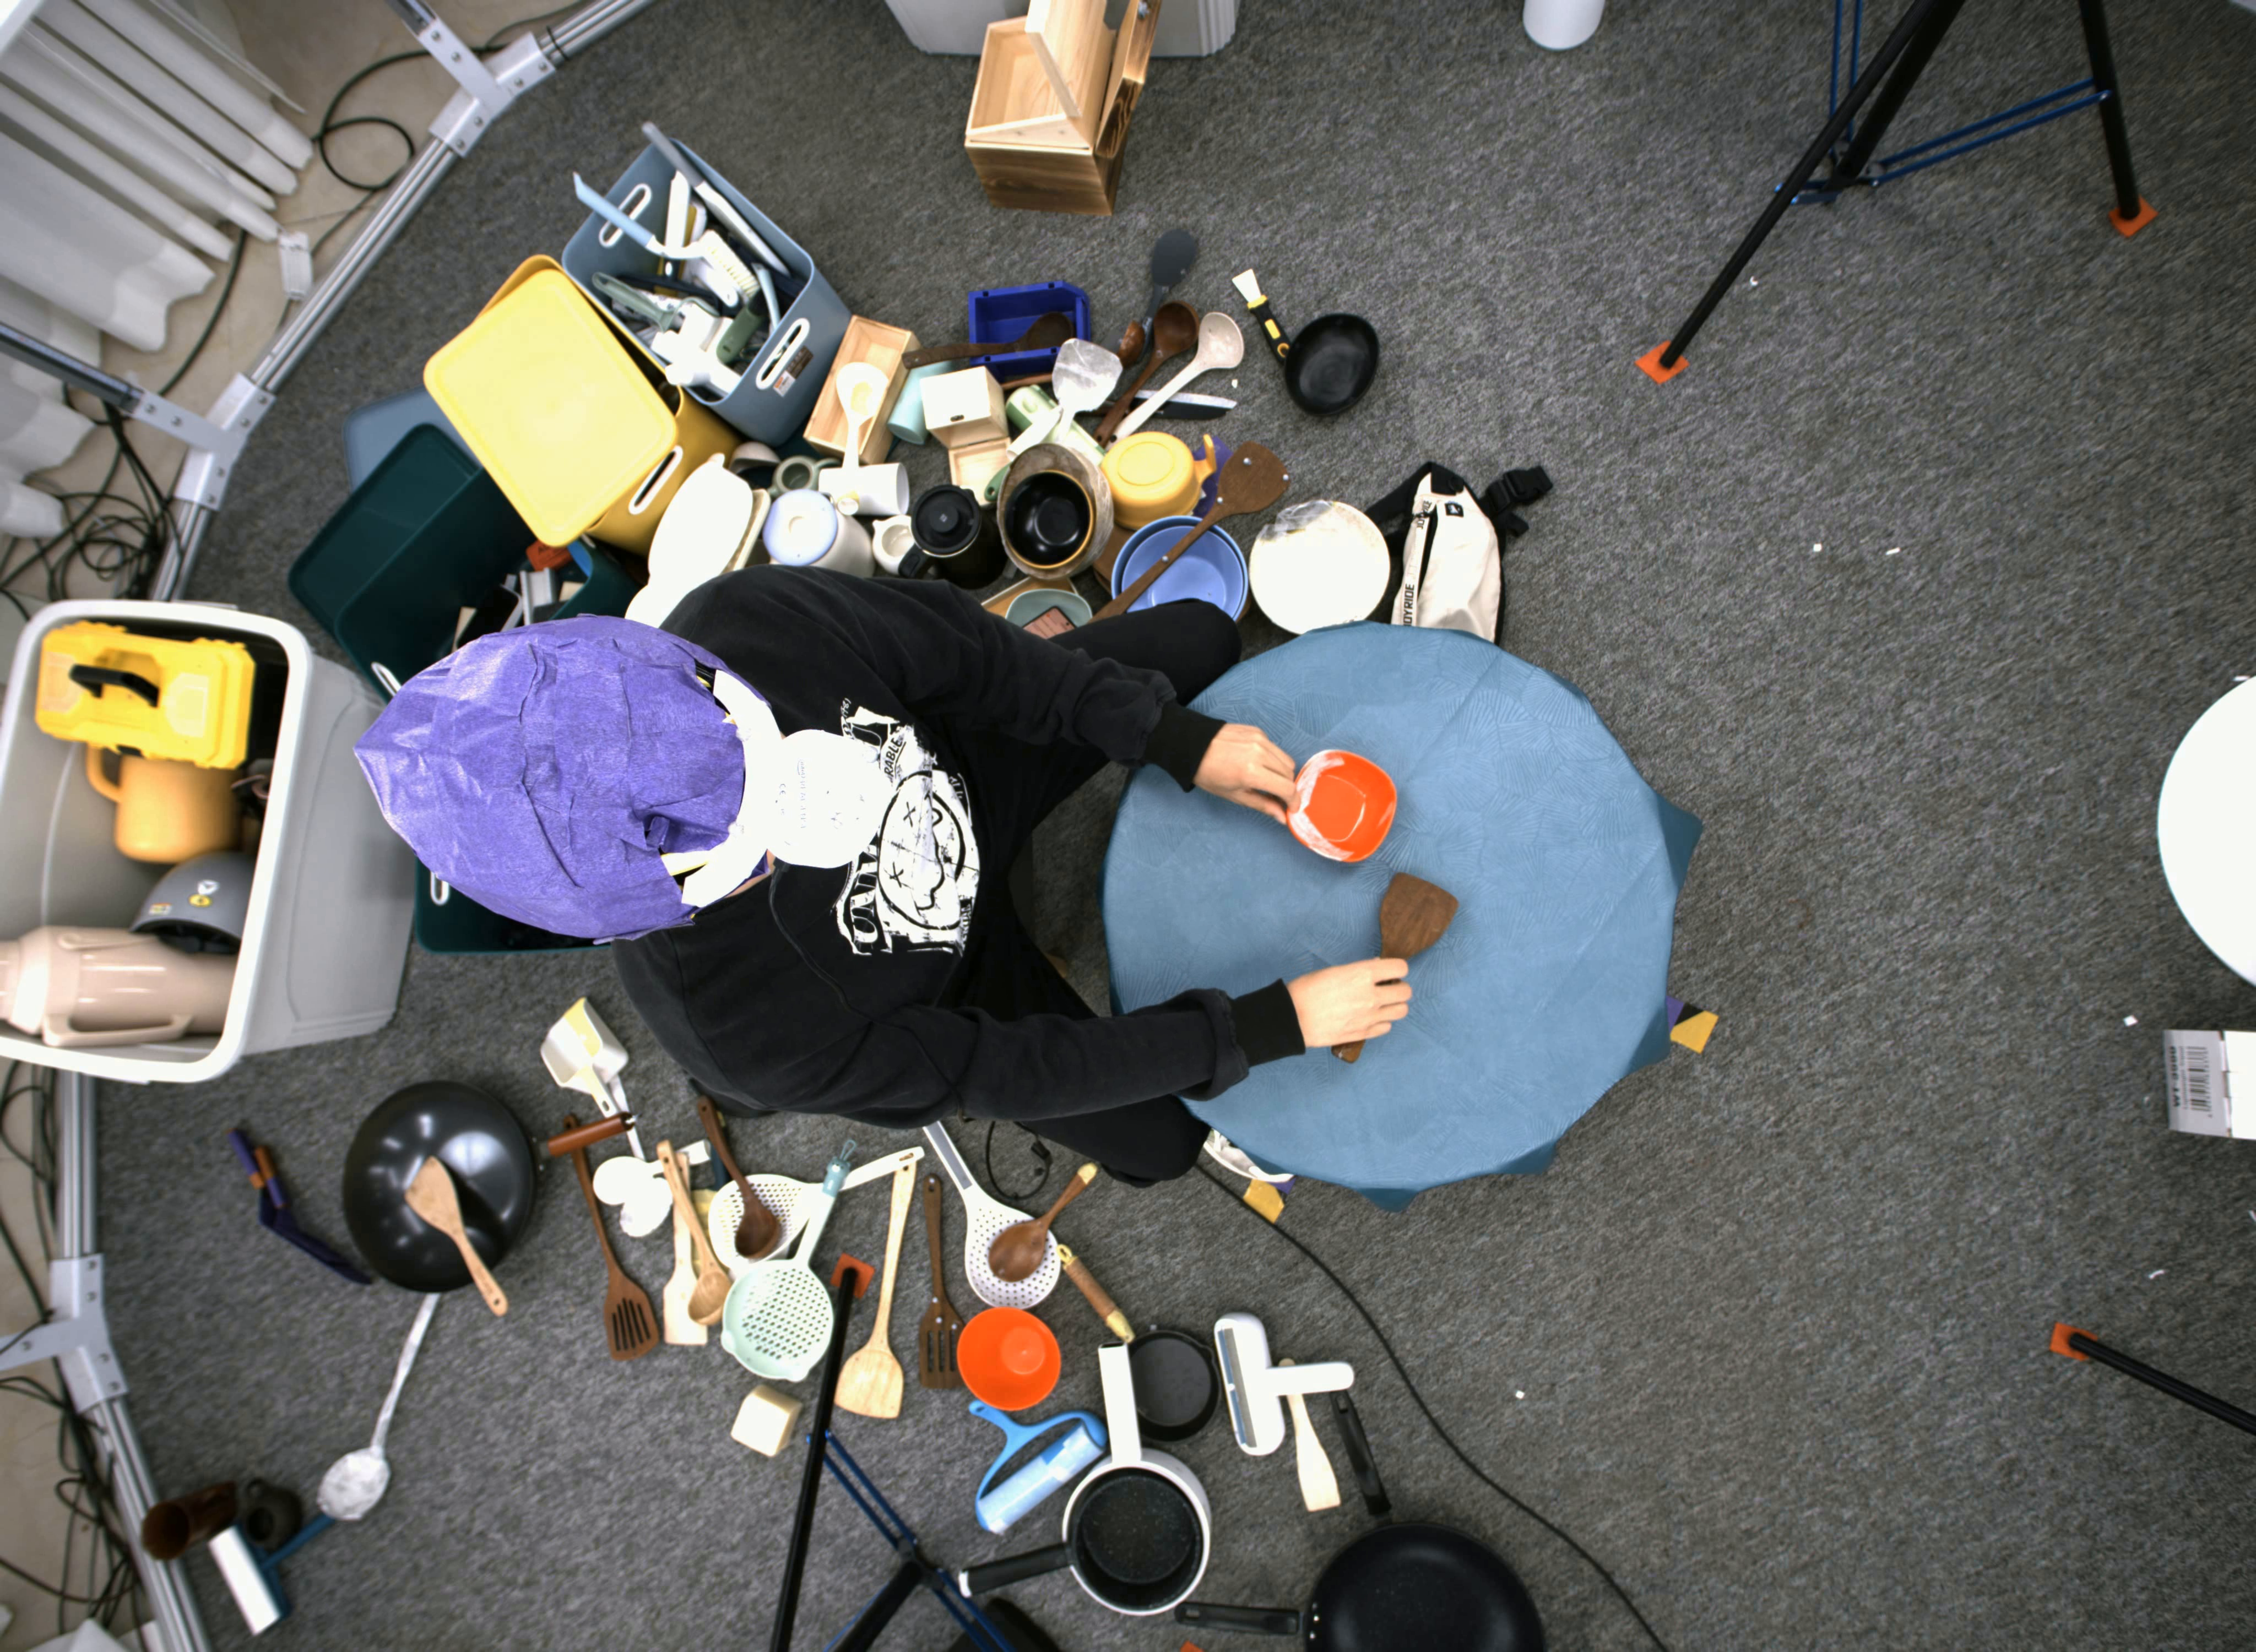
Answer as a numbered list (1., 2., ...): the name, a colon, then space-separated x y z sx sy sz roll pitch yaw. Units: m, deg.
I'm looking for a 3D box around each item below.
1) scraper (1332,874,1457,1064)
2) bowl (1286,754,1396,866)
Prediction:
1. scraper: 0.261 0.144 1.396 0.076 0.011 0.208 27 71 10
2. bowl: 0.217 -0.016 1.443 0.119 0.051 0.118 0 89 -6
